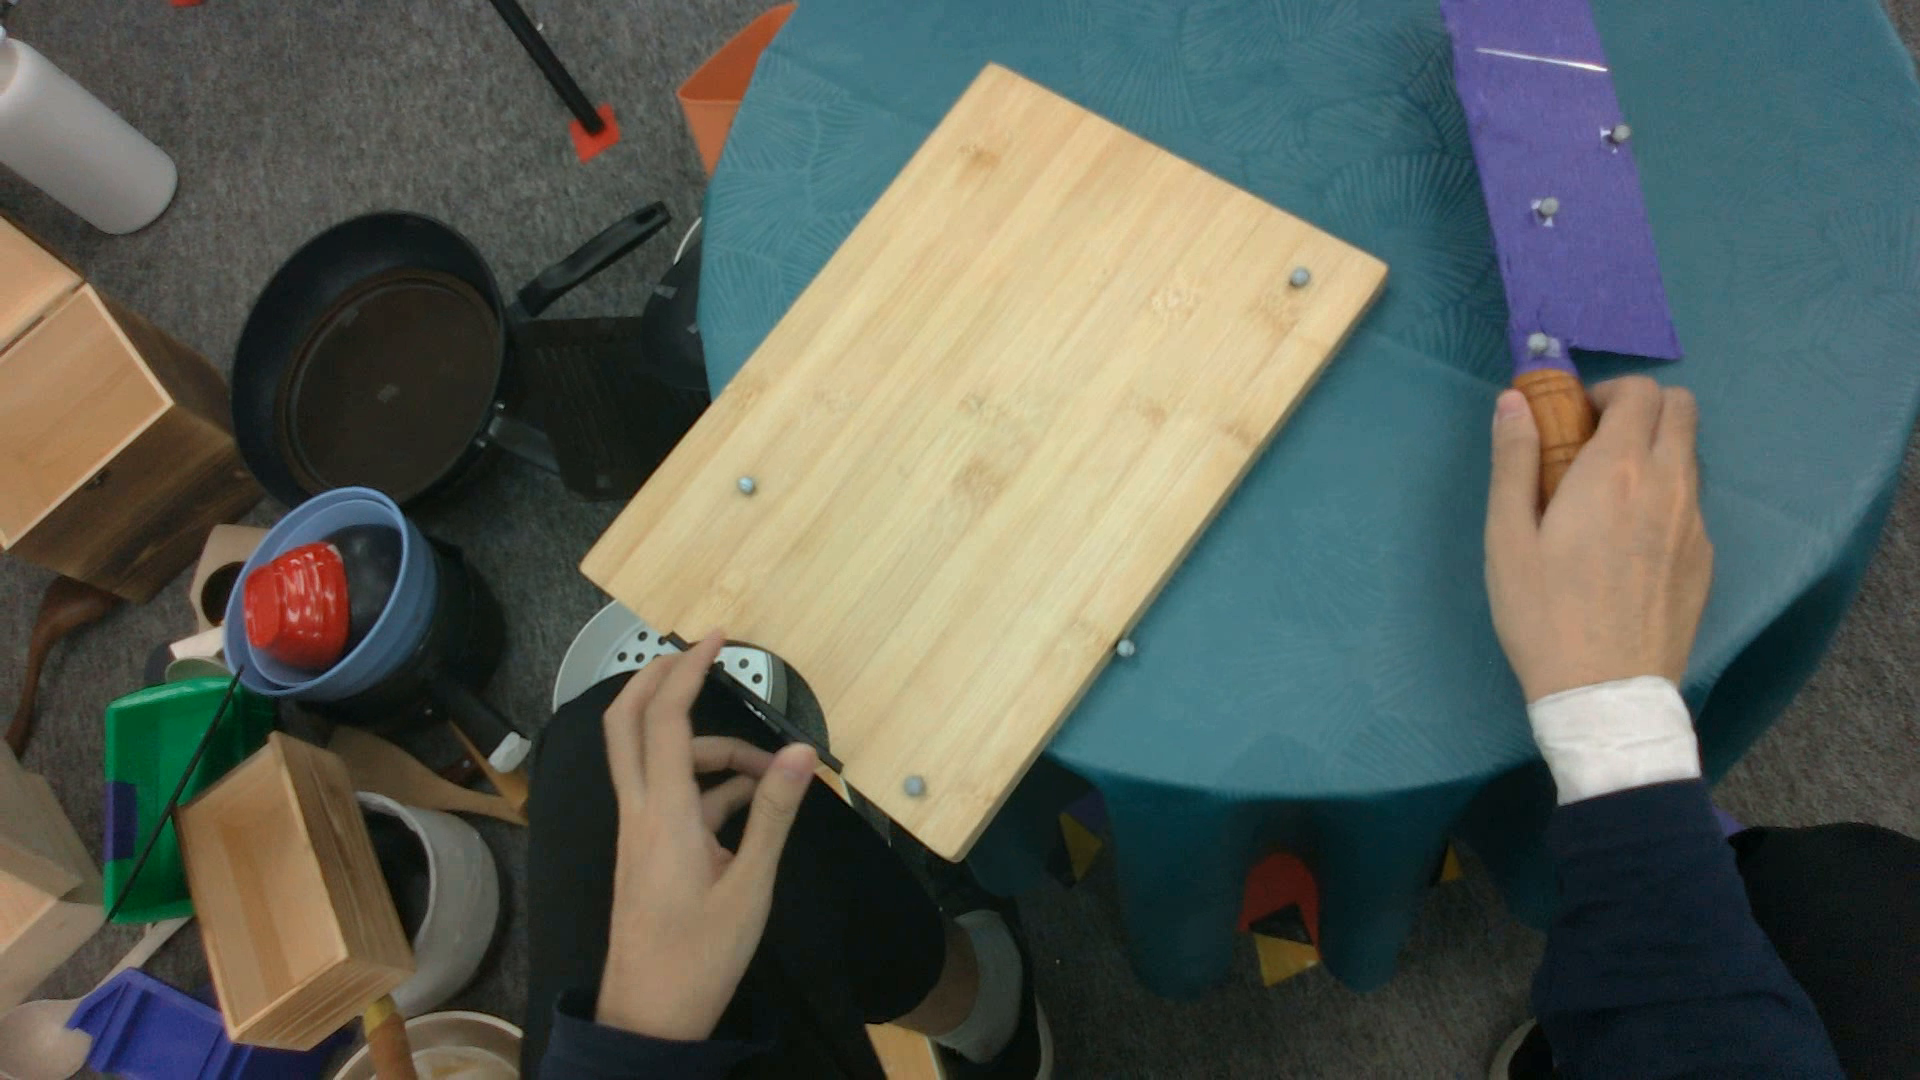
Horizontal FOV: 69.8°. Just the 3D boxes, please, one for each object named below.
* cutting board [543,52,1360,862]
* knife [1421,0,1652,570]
[{"bbox_3d":[-0.005,-0.057,0.667,0.251,0.023,0.349,33,80,20],"label":"cutting board"},{"bbox_3d":[0.266,-0.140,0.618,0.104,0.032,0.316,2,72,-20],"label":"knife"}]
